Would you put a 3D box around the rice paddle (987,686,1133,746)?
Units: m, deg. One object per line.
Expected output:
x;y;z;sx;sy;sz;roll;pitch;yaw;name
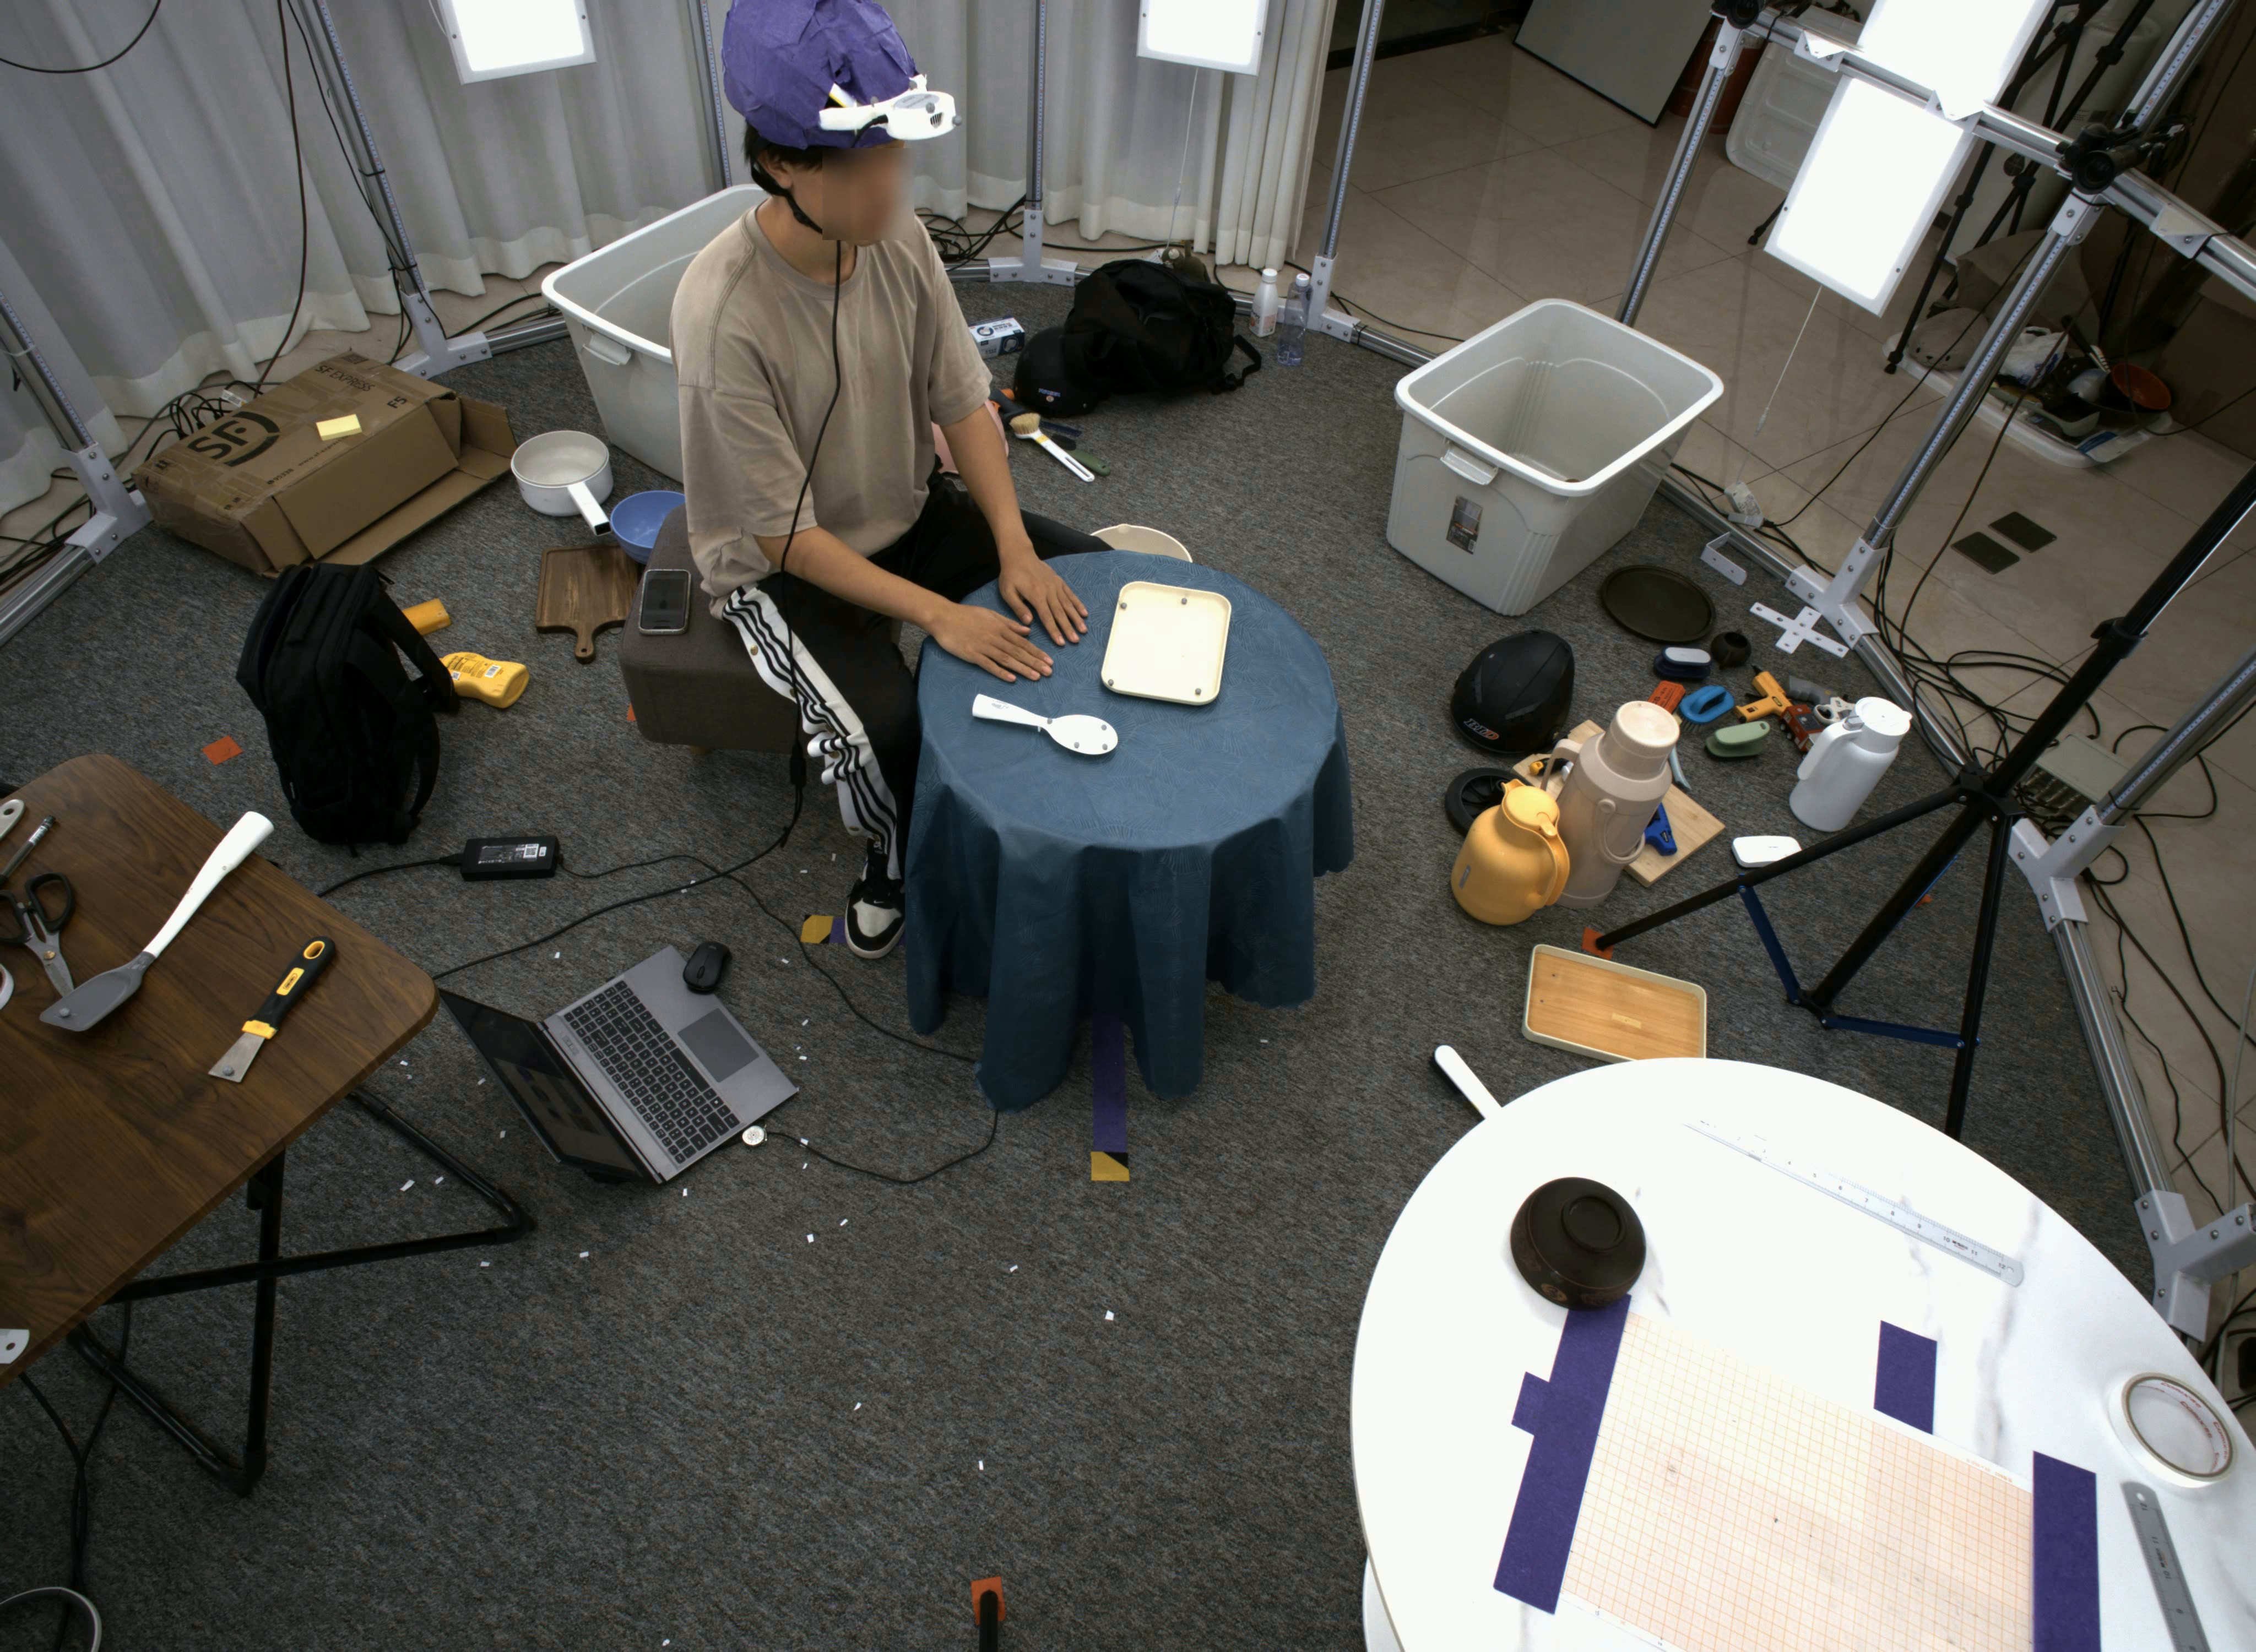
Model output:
-0.091;-0.153;1.756;0.206;0.029;0.070;15;50;8;rice paddle

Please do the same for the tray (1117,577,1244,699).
0.079;-0.278;1.892;0.171;0.017;0.245;9;48;2;tray
